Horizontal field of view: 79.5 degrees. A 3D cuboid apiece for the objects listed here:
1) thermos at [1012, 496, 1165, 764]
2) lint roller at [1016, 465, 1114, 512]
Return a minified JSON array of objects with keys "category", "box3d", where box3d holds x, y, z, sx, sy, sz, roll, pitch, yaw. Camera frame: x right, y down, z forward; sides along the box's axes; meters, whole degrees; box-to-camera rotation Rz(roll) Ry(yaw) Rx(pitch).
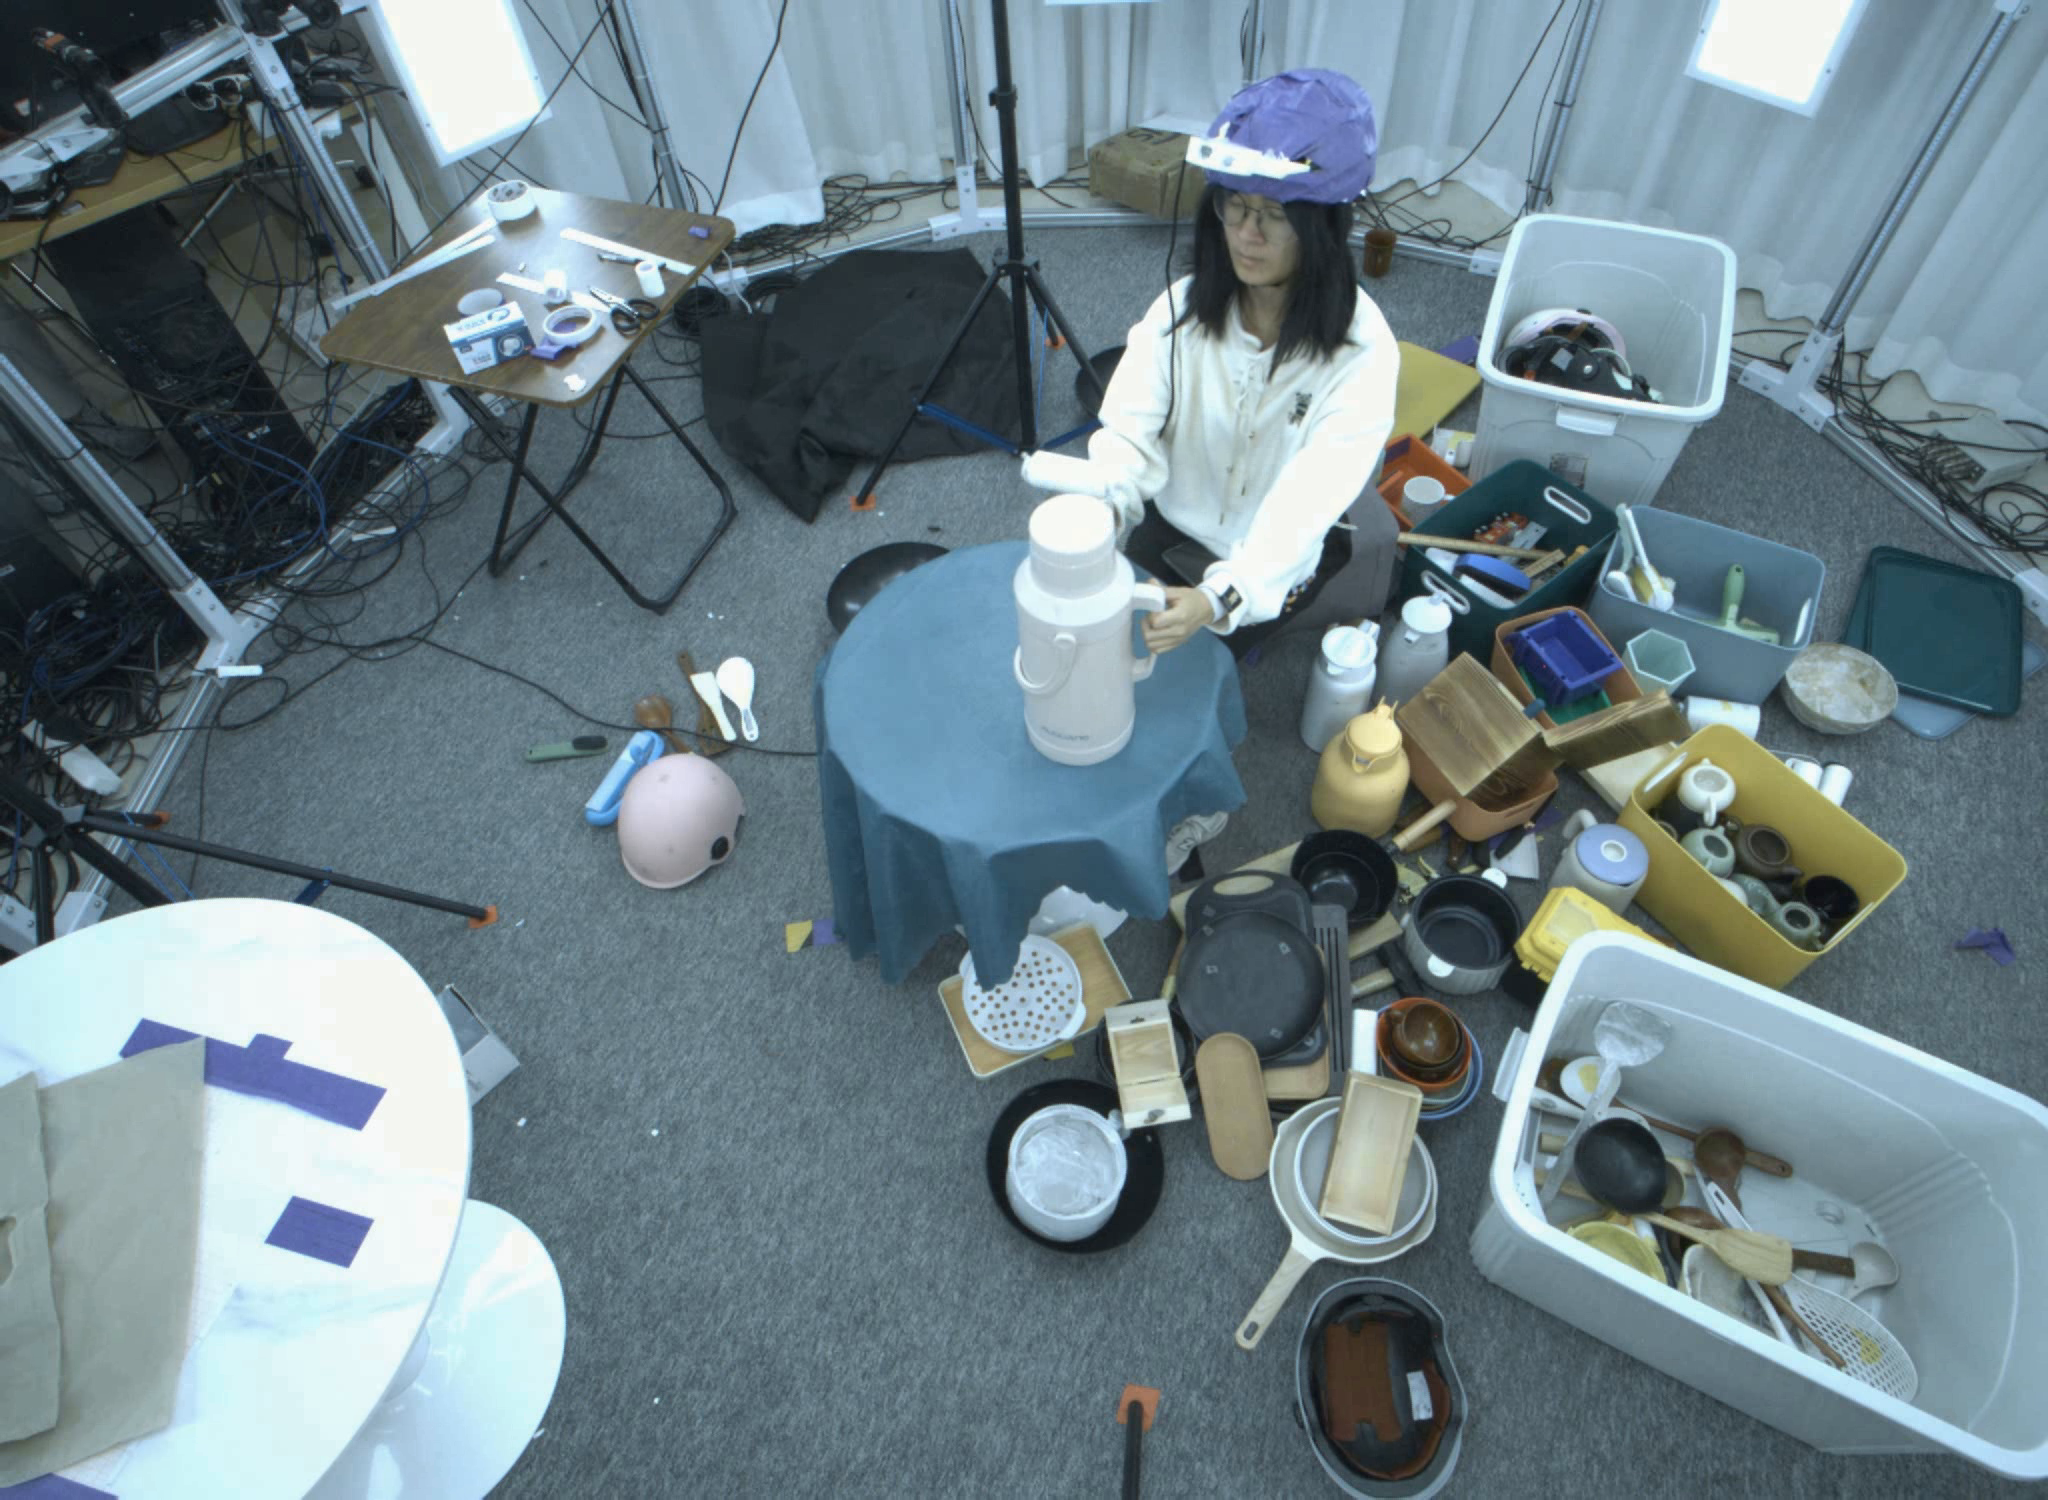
[{"category":"thermos","box3d":[0.082,-0.155,1.651,0.206,0.411,0.174,5,55,7]},{"category":"lint roller","box3d":[0.072,-0.334,1.668,0.131,0.183,0.050,16,89,19]}]
